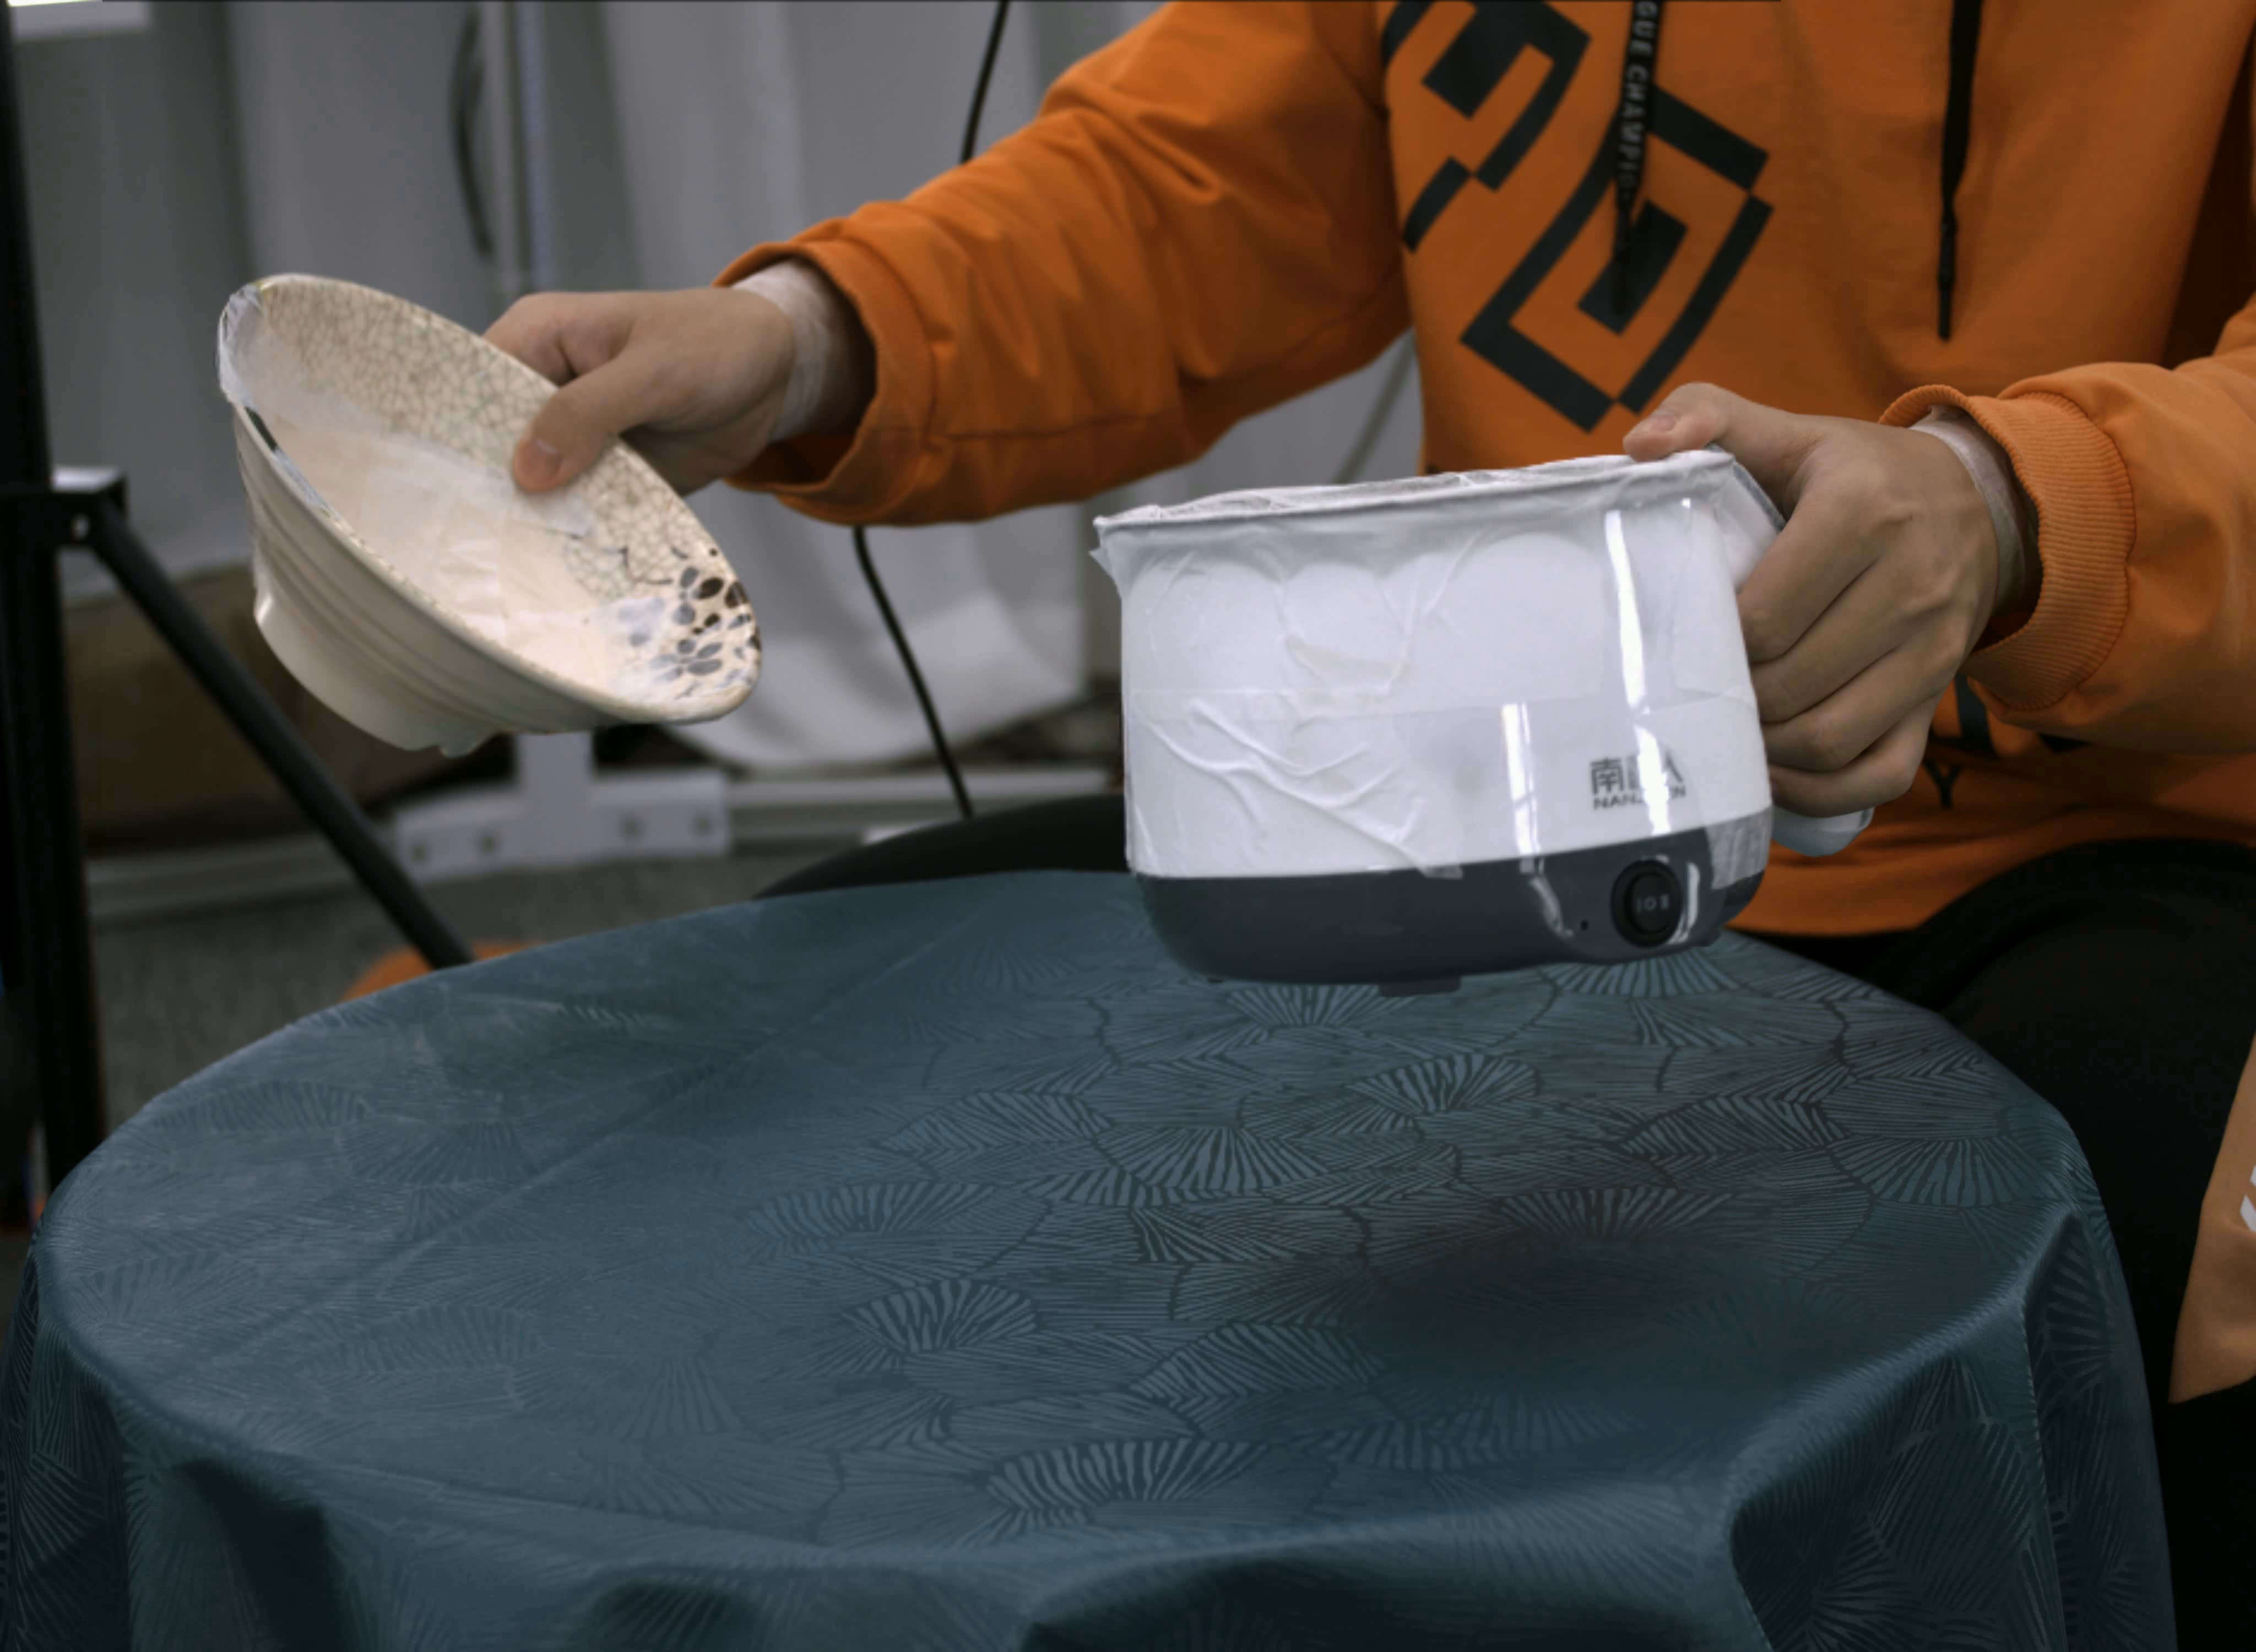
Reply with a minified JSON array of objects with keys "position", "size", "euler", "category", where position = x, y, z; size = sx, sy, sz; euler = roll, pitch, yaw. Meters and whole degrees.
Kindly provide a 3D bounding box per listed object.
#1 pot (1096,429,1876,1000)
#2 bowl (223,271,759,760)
[{"position":[0.107,-0.034,1.466],"size":[0.228,0.137,0.182],"euler":[-9,6,-33],"category":"pot"},{"position":[-0.219,-0.078,1.690],"size":[0.201,0.078,0.205],"euler":[34,21,-17],"category":"bowl"}]
